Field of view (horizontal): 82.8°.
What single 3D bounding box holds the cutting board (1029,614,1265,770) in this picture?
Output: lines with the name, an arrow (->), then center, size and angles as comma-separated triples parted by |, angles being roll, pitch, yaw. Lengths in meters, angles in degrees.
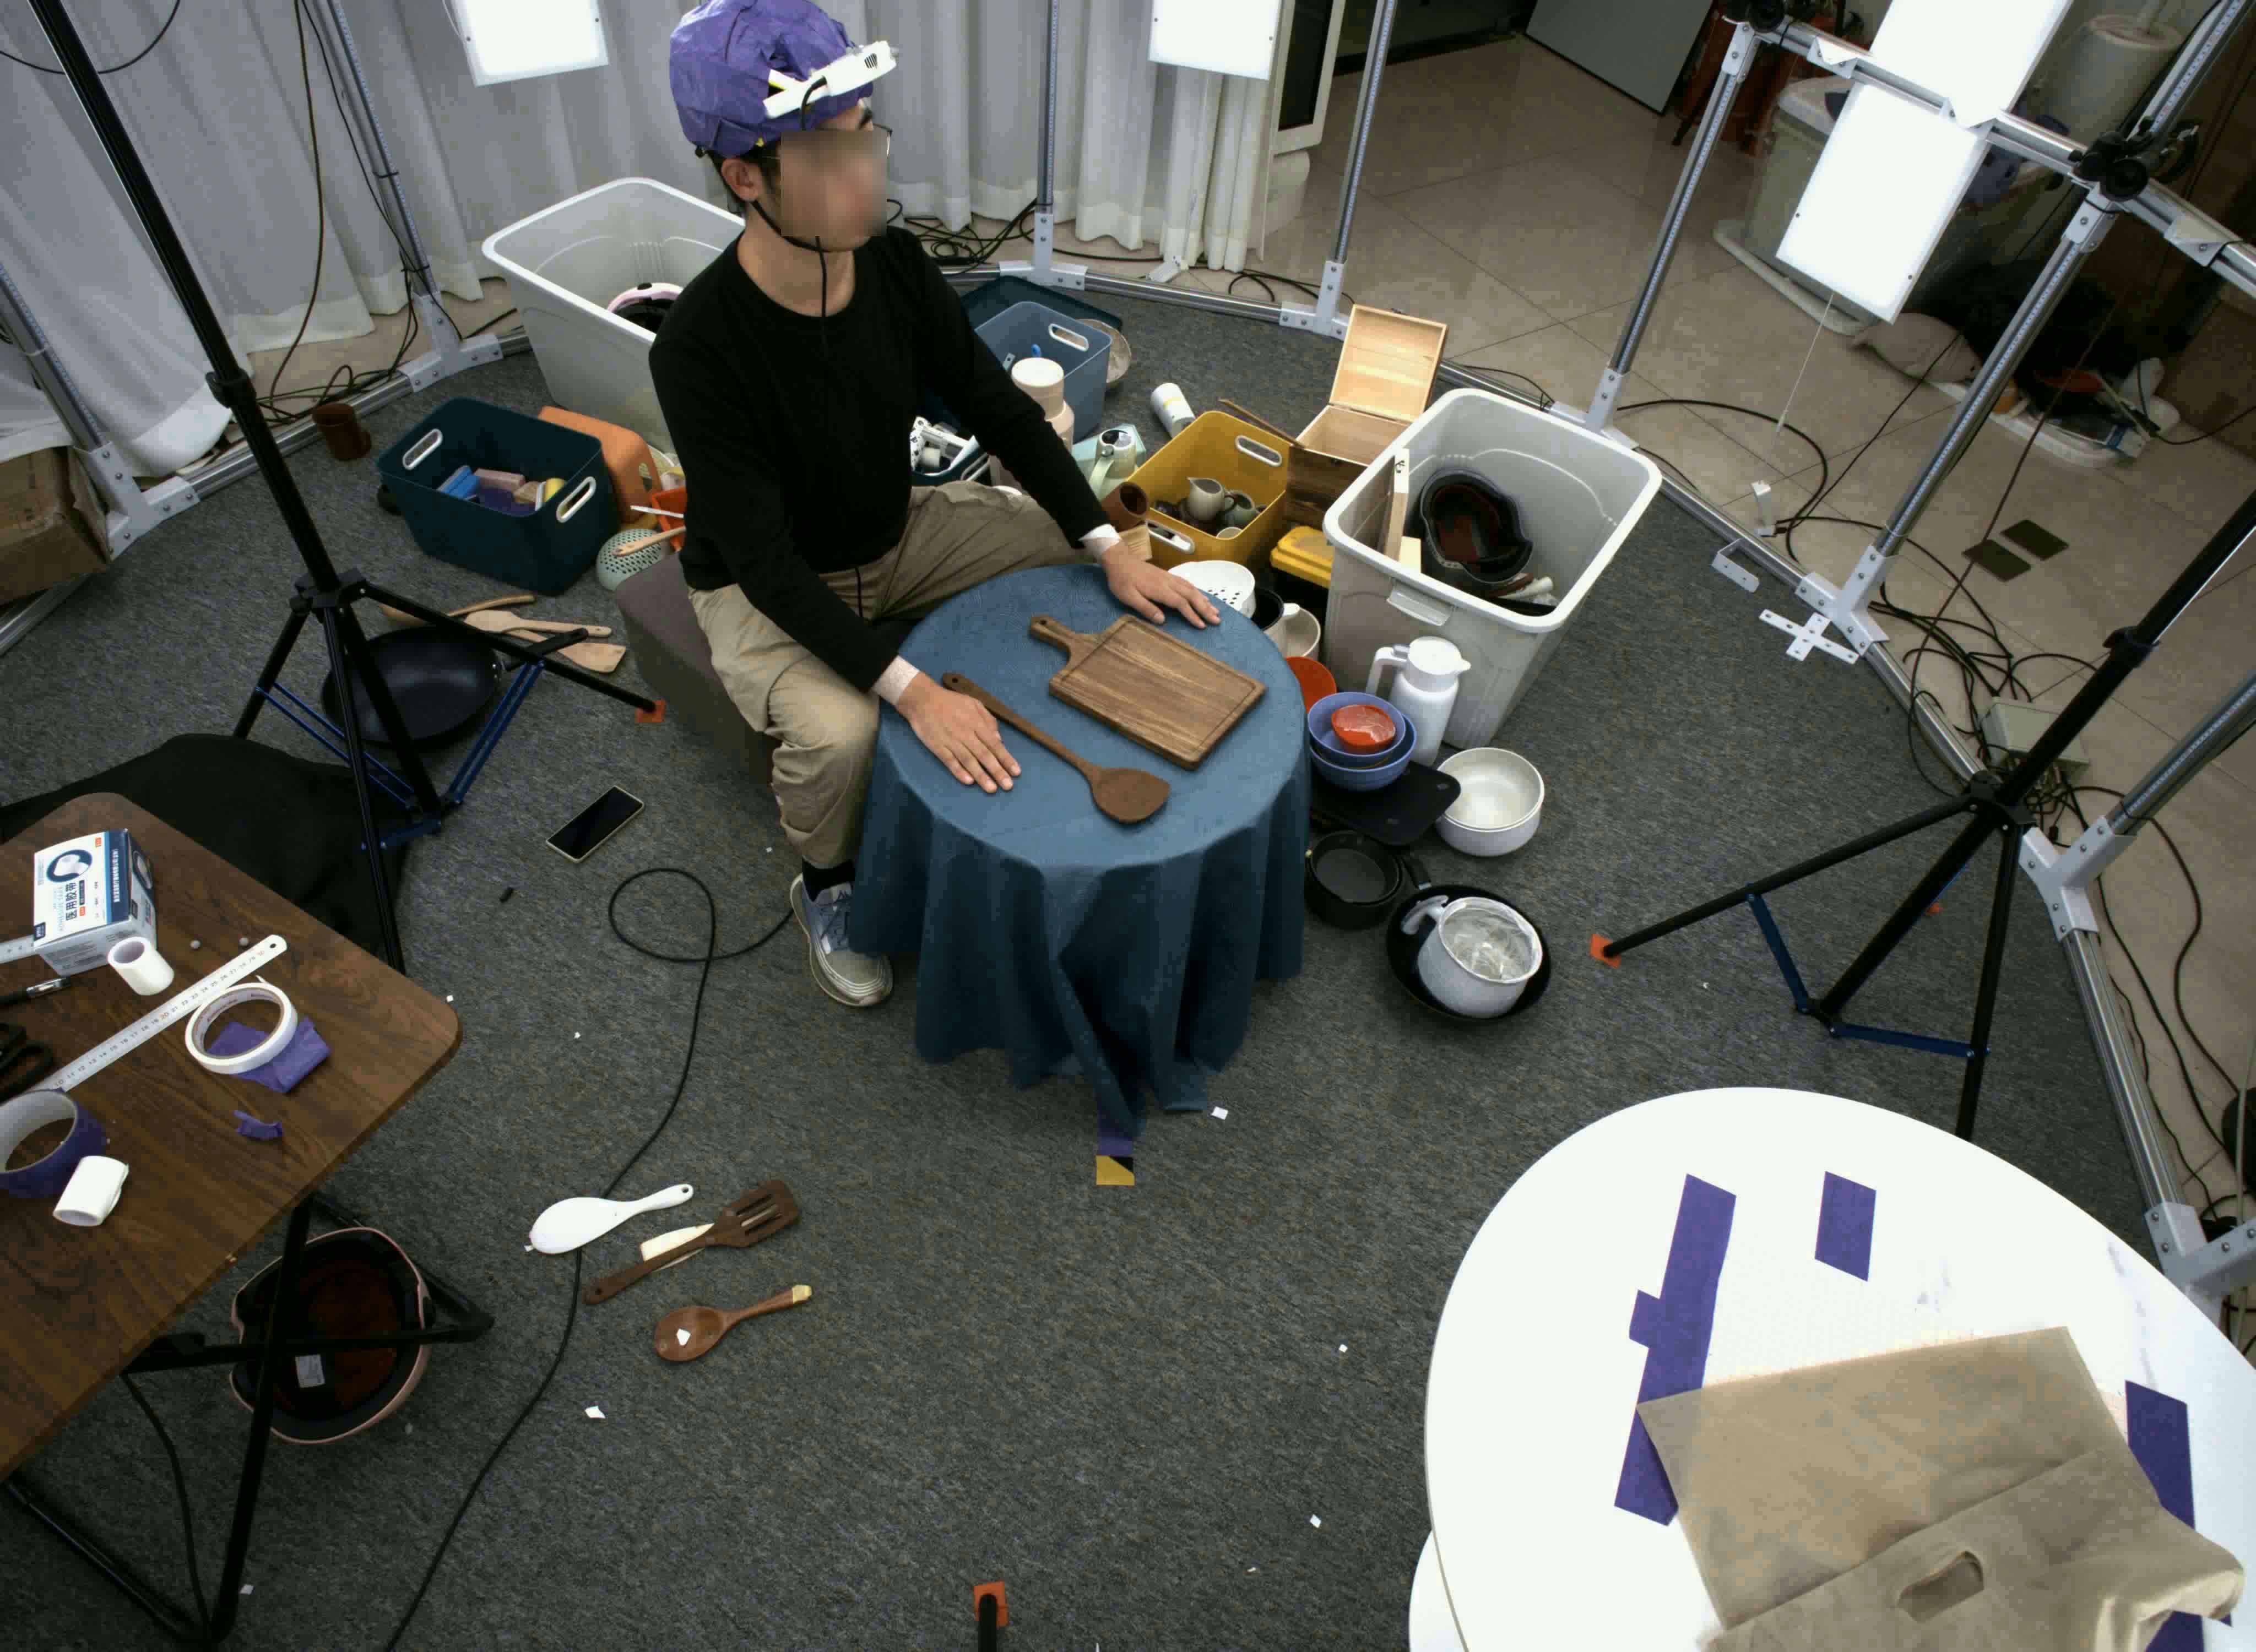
cutting board -> 0.002, -0.221, 1.848 | 0.356, 0.022, 0.204 | 30, 53, 20

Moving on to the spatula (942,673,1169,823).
spatula -> -0.113, -0.117, 1.755 | 0.391, 0.015, 0.097 | 34, 55, 23
